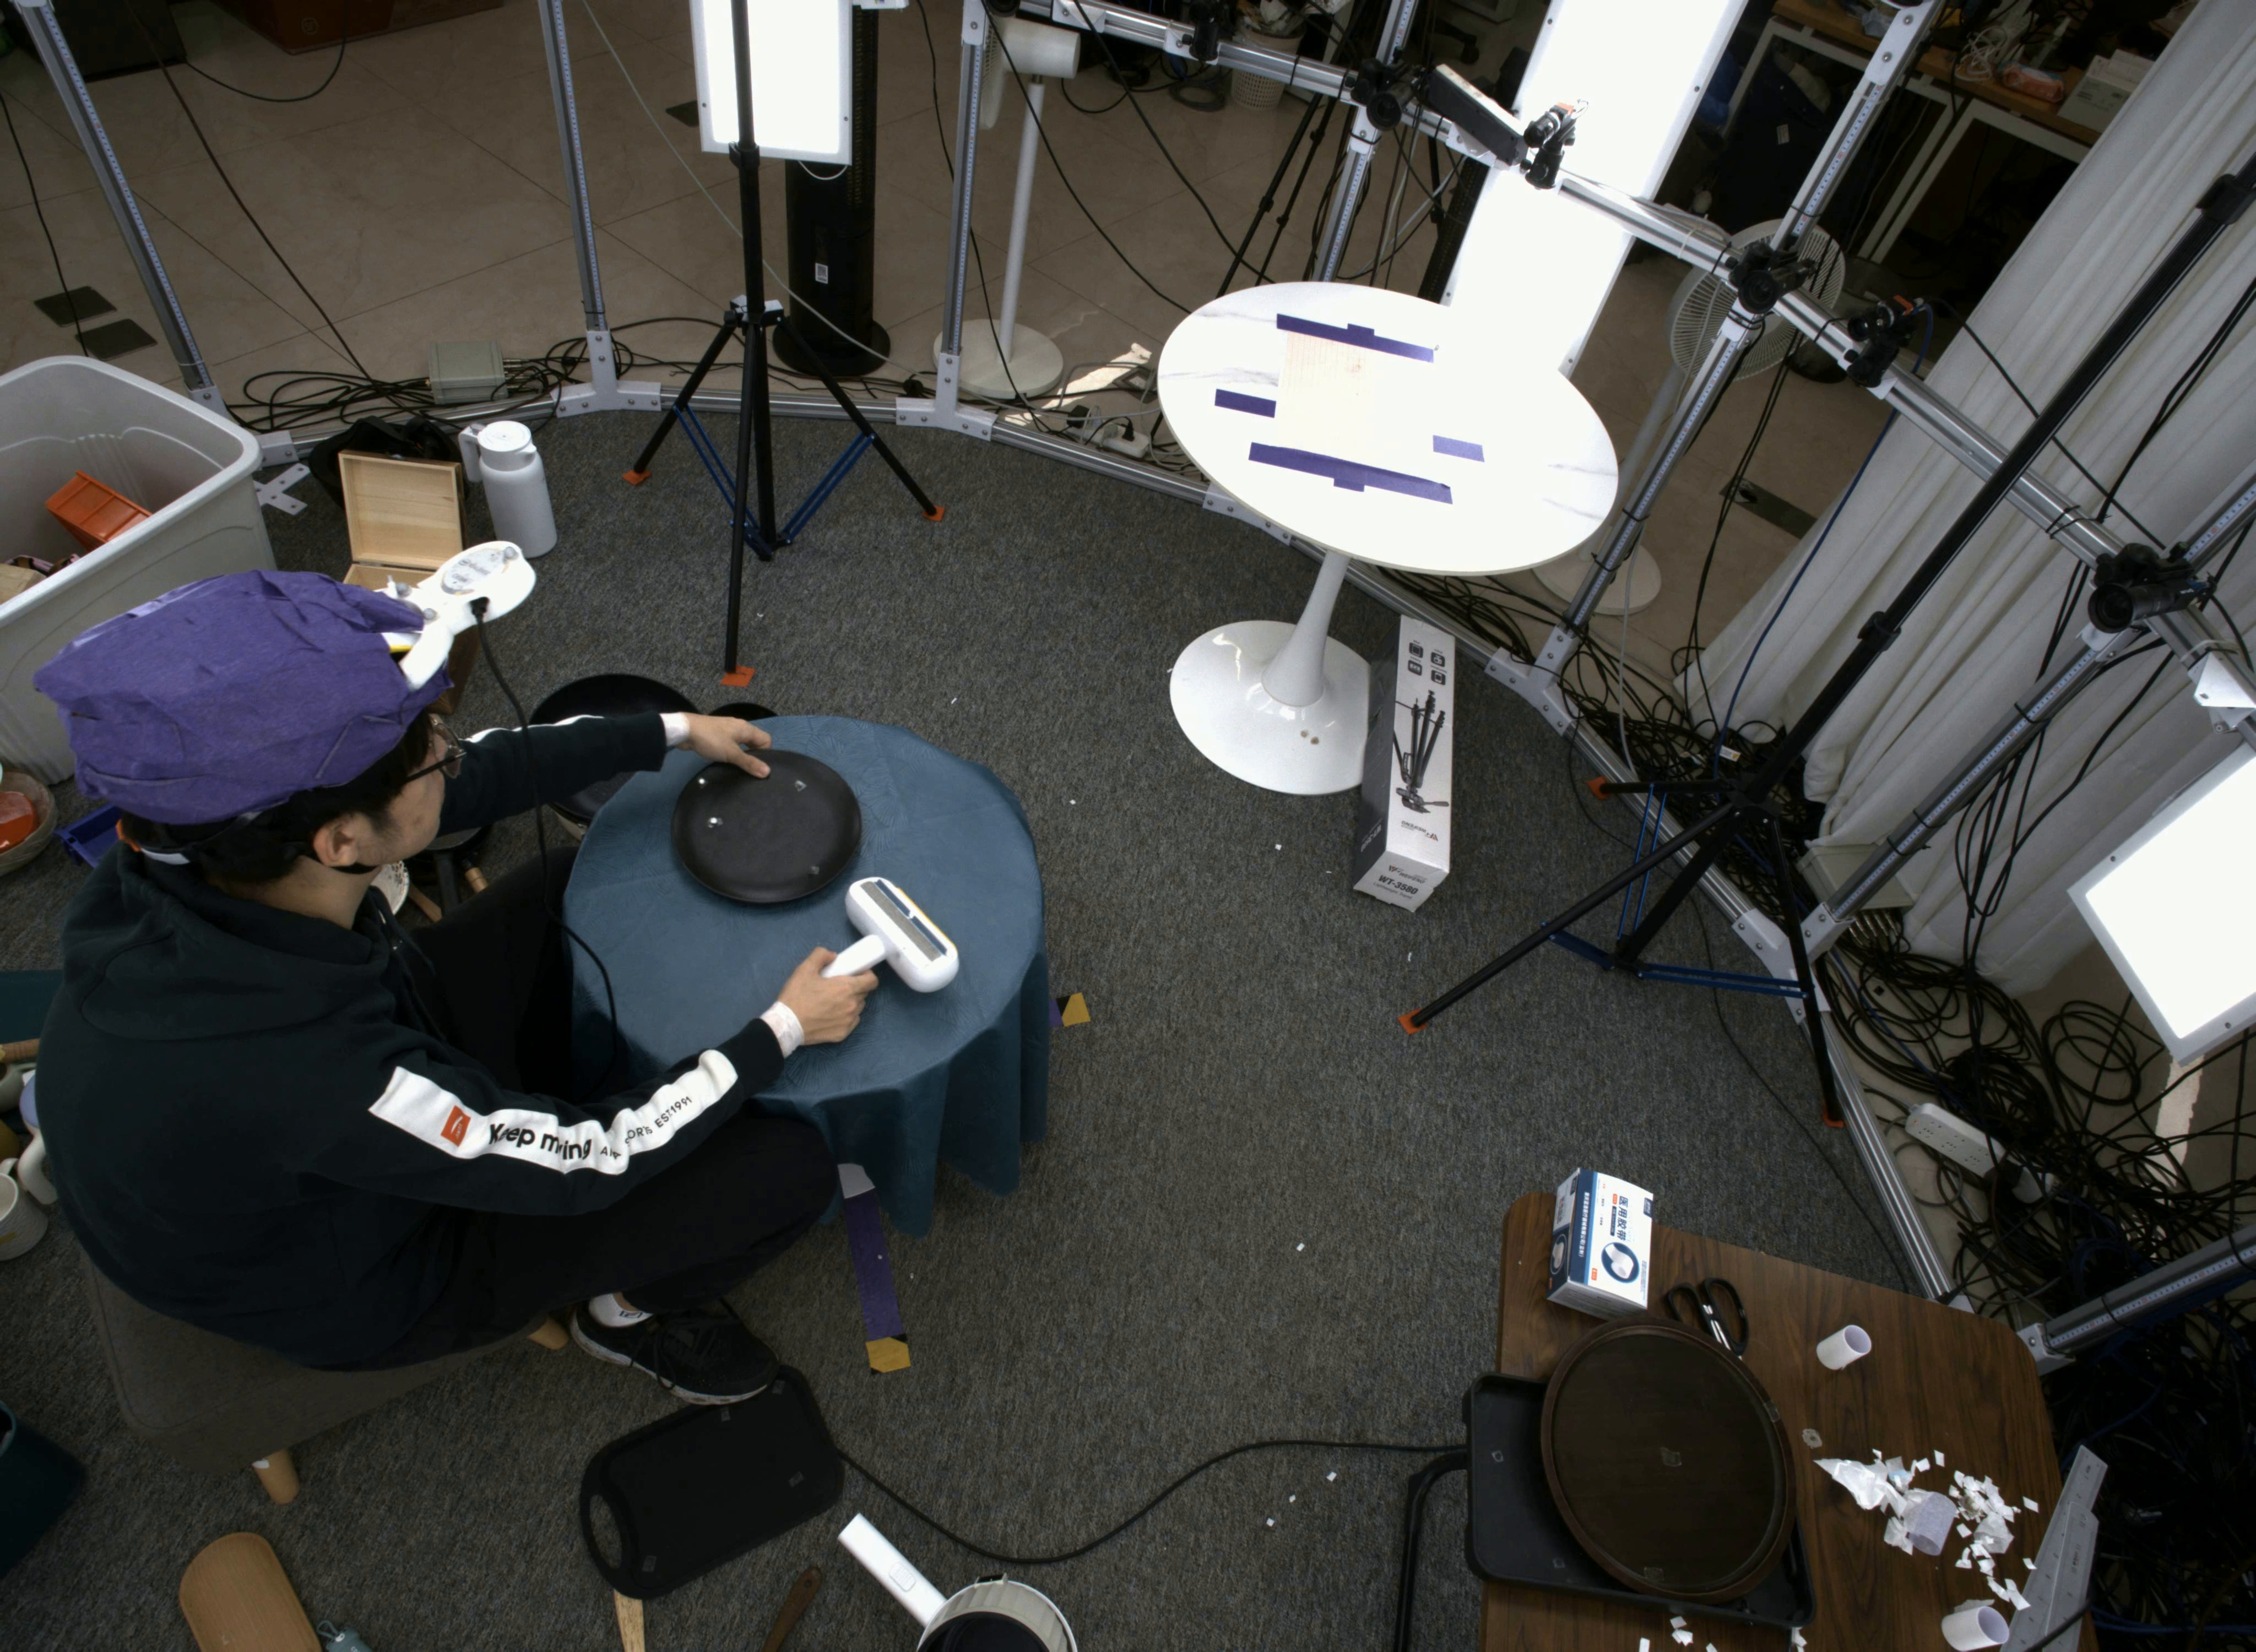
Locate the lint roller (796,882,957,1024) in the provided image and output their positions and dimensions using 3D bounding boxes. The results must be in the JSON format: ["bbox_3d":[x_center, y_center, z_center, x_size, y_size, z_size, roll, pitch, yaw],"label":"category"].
[{"bbox_3d":[-0.327,0.171,1.603,0.192,0.076,0.186,-29,54,-18],"label":"lint roller"}]

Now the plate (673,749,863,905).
[{"bbox_3d":[-0.471,0.001,1.697,0.244,0.024,0.240,8,55,-10],"label":"plate"}]
